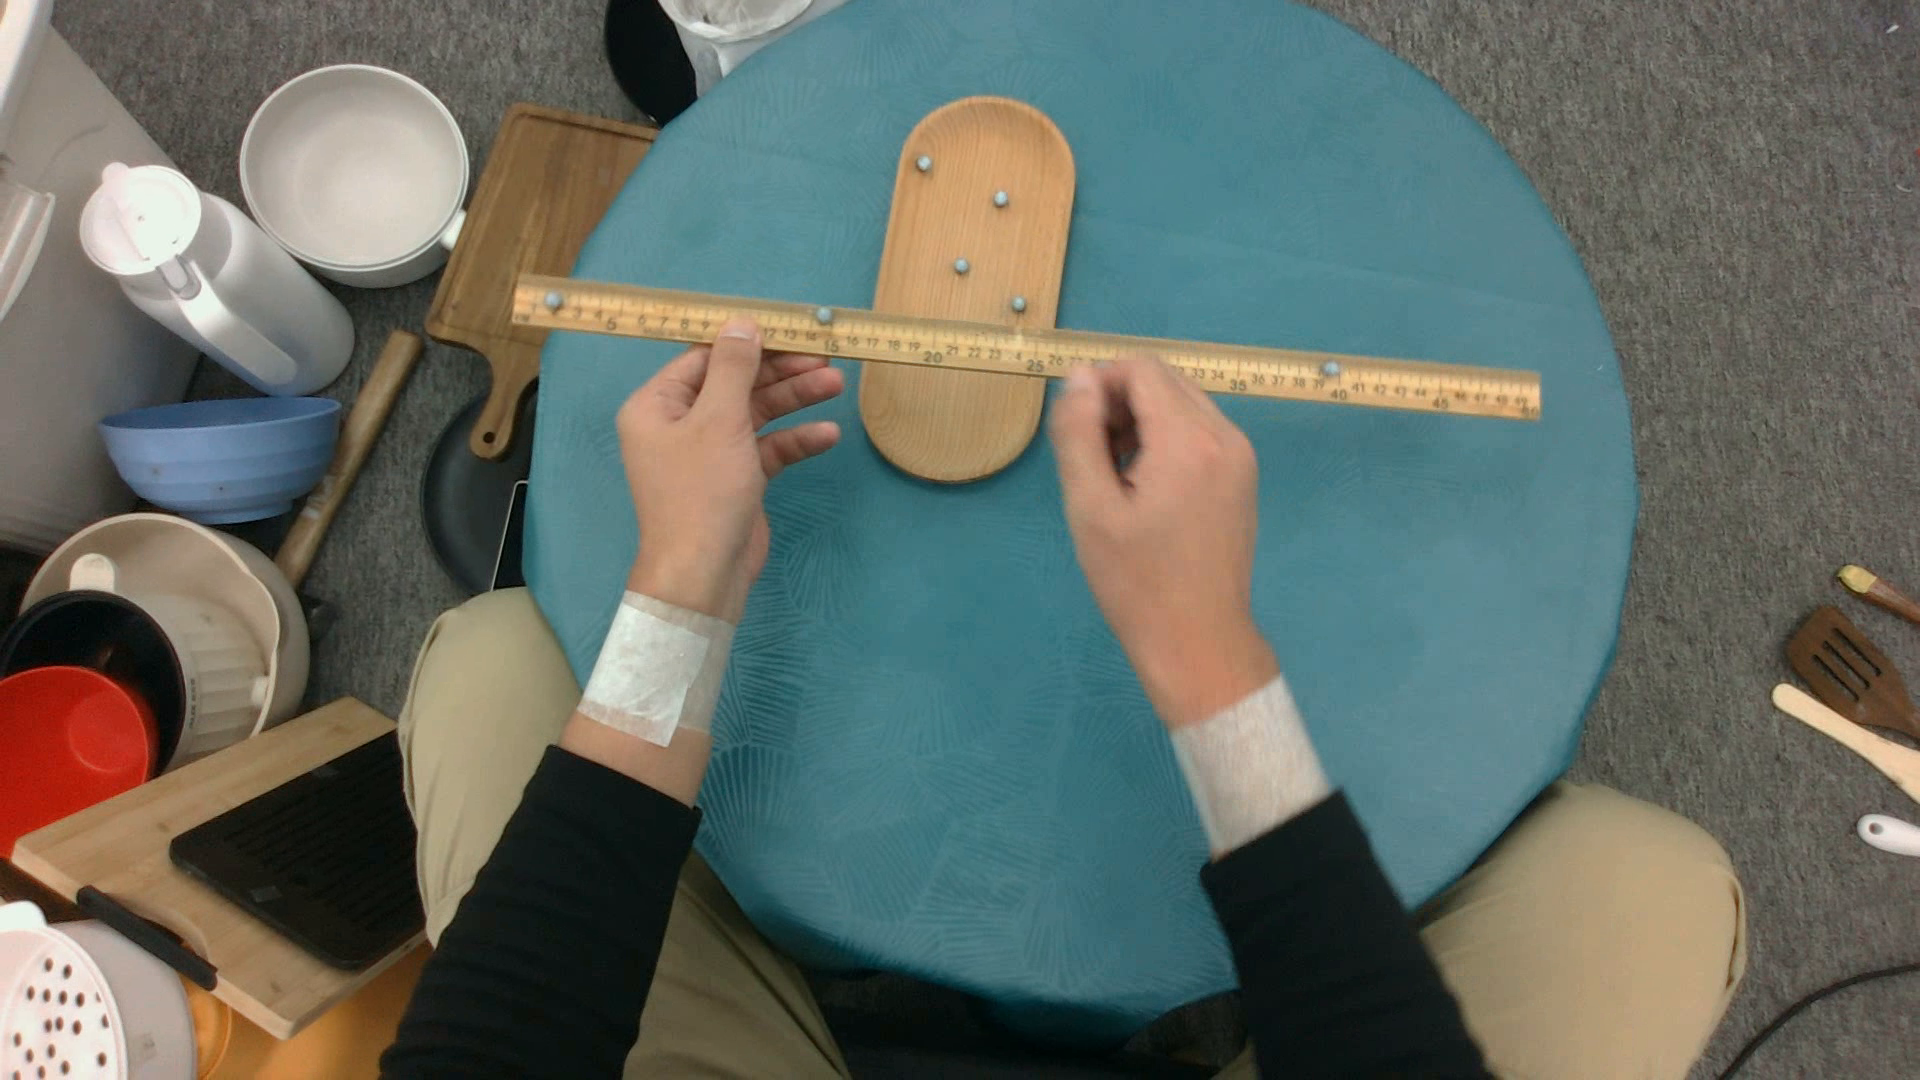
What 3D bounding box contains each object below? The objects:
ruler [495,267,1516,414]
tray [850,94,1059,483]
[{"bbox_3d":[0.026,-0.096,0.671,0.500,0.006,0.027,5,80,-3],"label":"ruler"},{"bbox_3d":[-0.002,-0.142,0.764,0.101,0.020,0.231,6,77,3],"label":"tray"}]
